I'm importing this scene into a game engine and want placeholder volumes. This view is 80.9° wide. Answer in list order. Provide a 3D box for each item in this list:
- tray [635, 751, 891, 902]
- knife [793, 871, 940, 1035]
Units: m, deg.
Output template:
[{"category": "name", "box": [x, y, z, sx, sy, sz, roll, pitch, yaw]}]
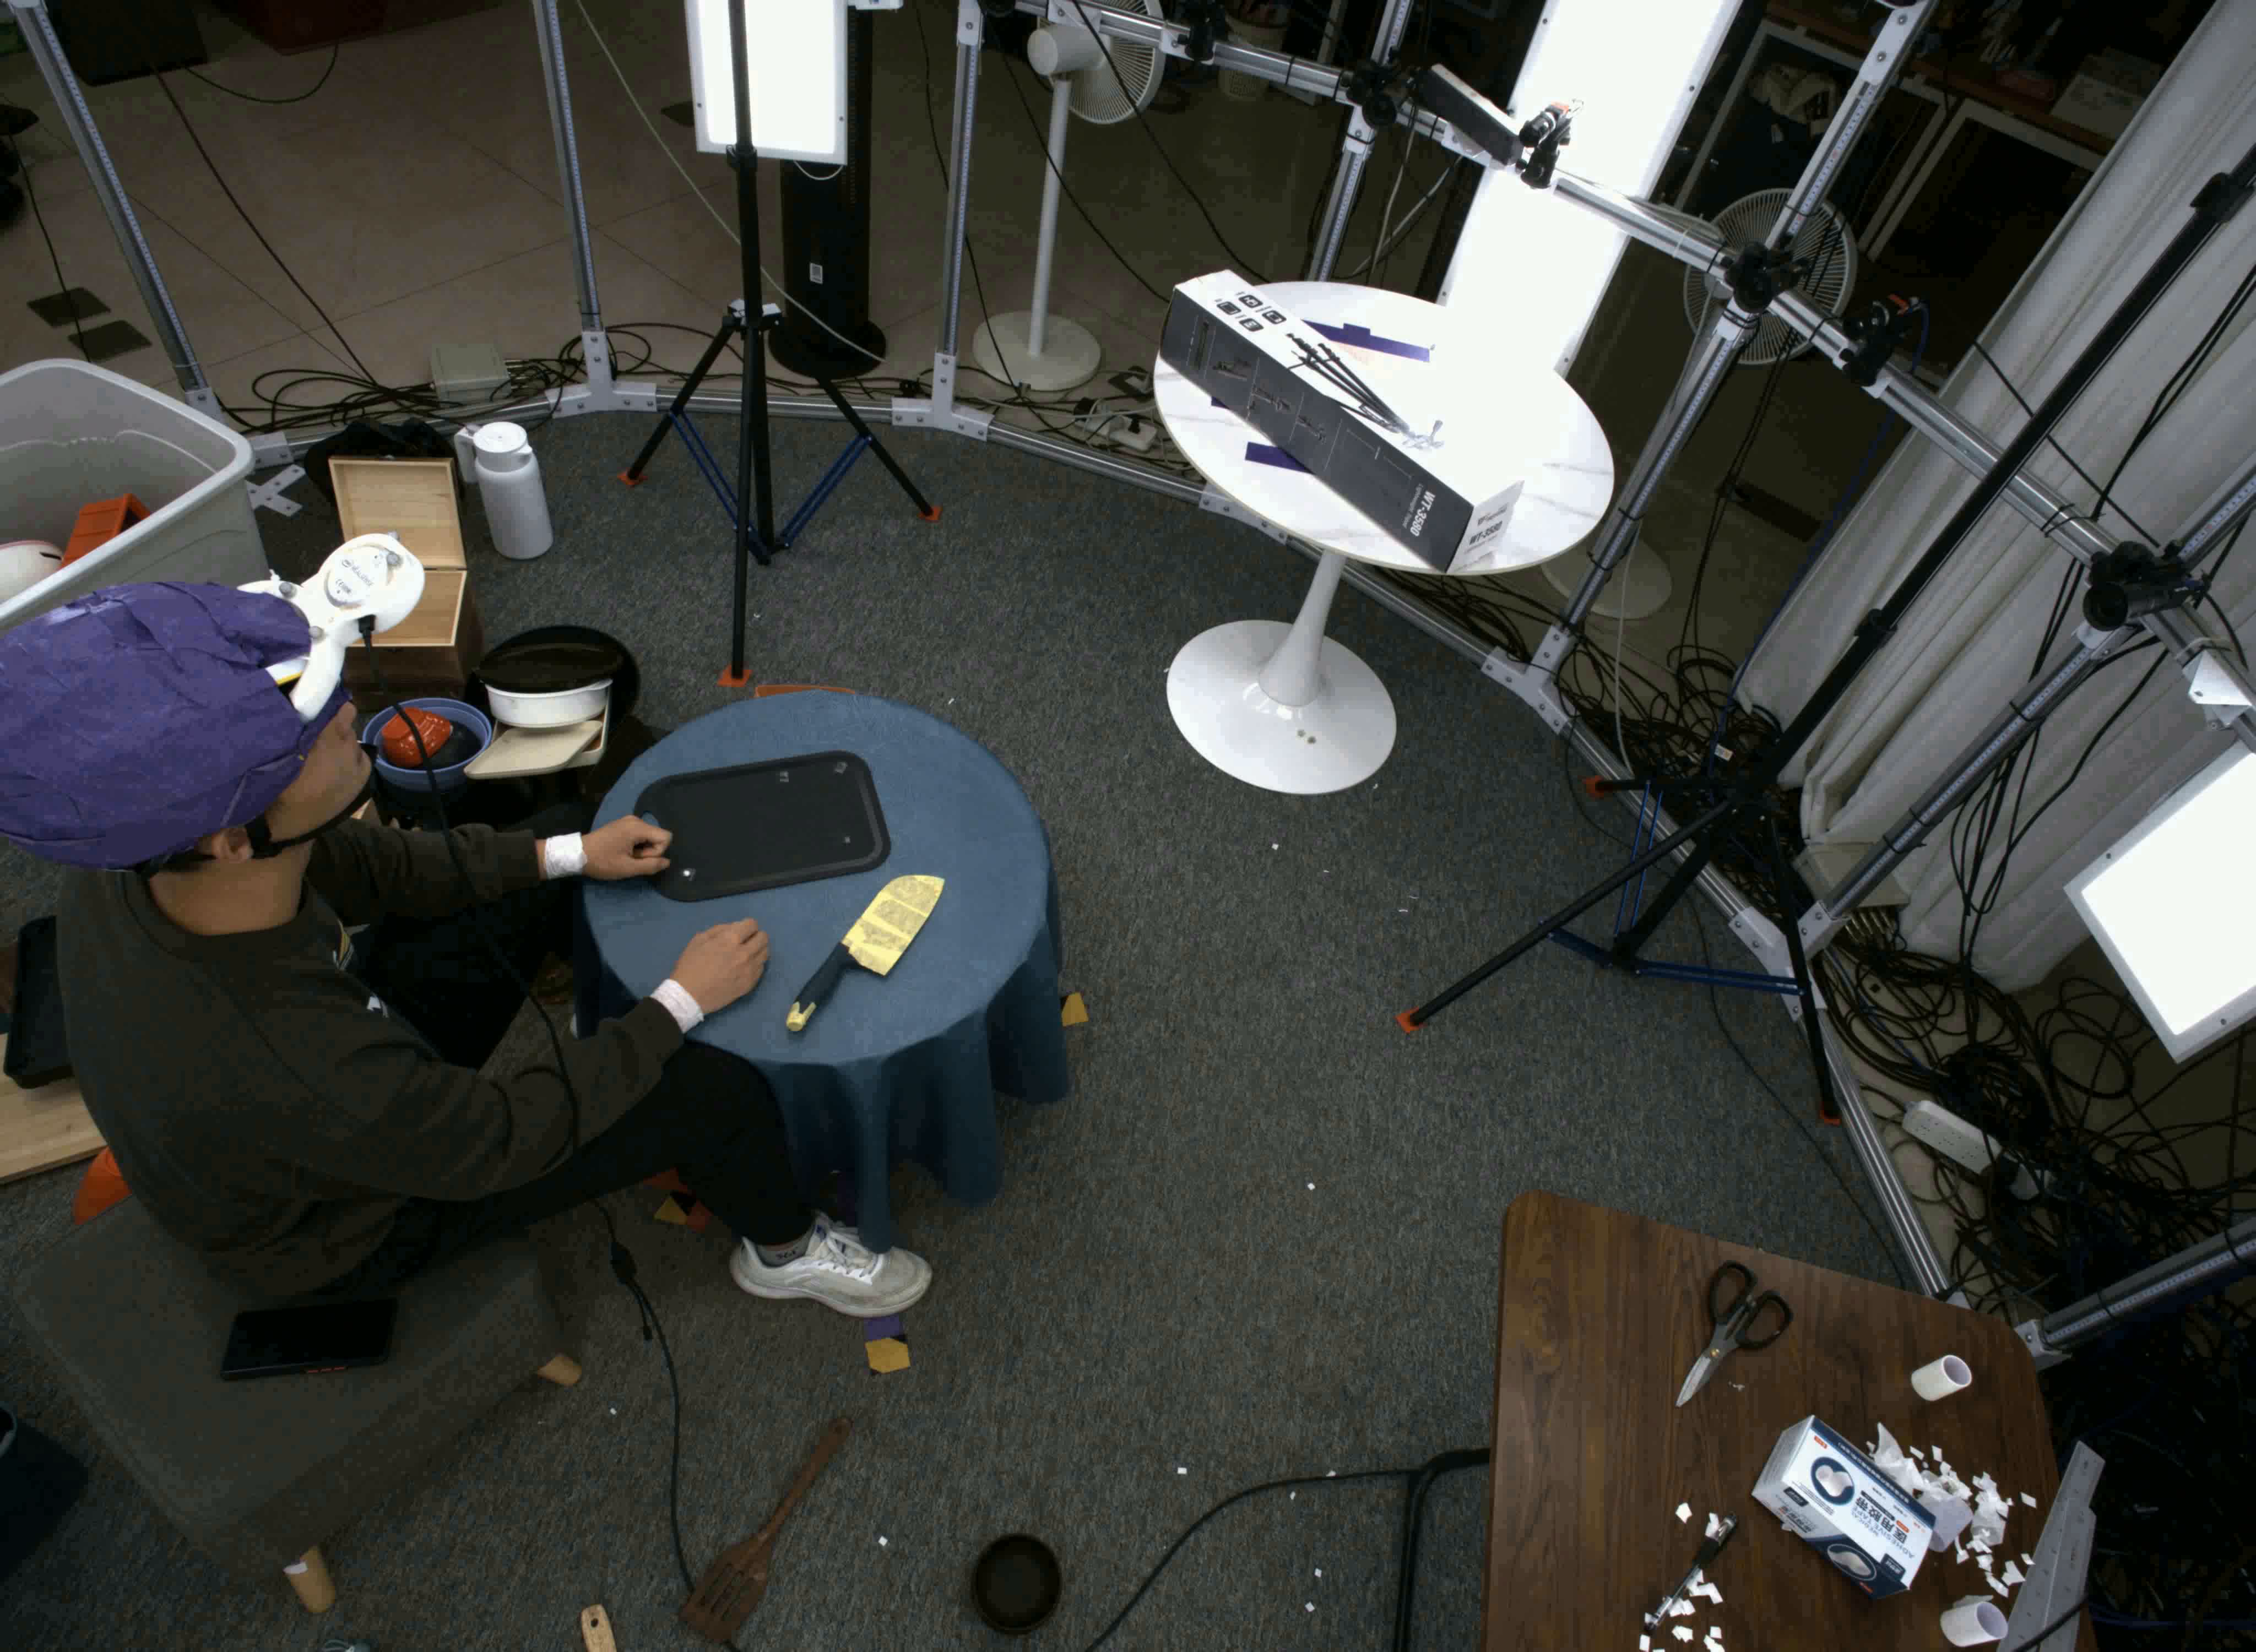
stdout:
[{"category": "tray", "box": [-0.488, -0.005, 1.718, 0.327, 0.010, 0.206, -10, 57, -21]}, {"category": "knife", "box": [-0.325, 0.154, 1.637, 0.079, 0.028, 0.288, 28, 51, 9]}]
